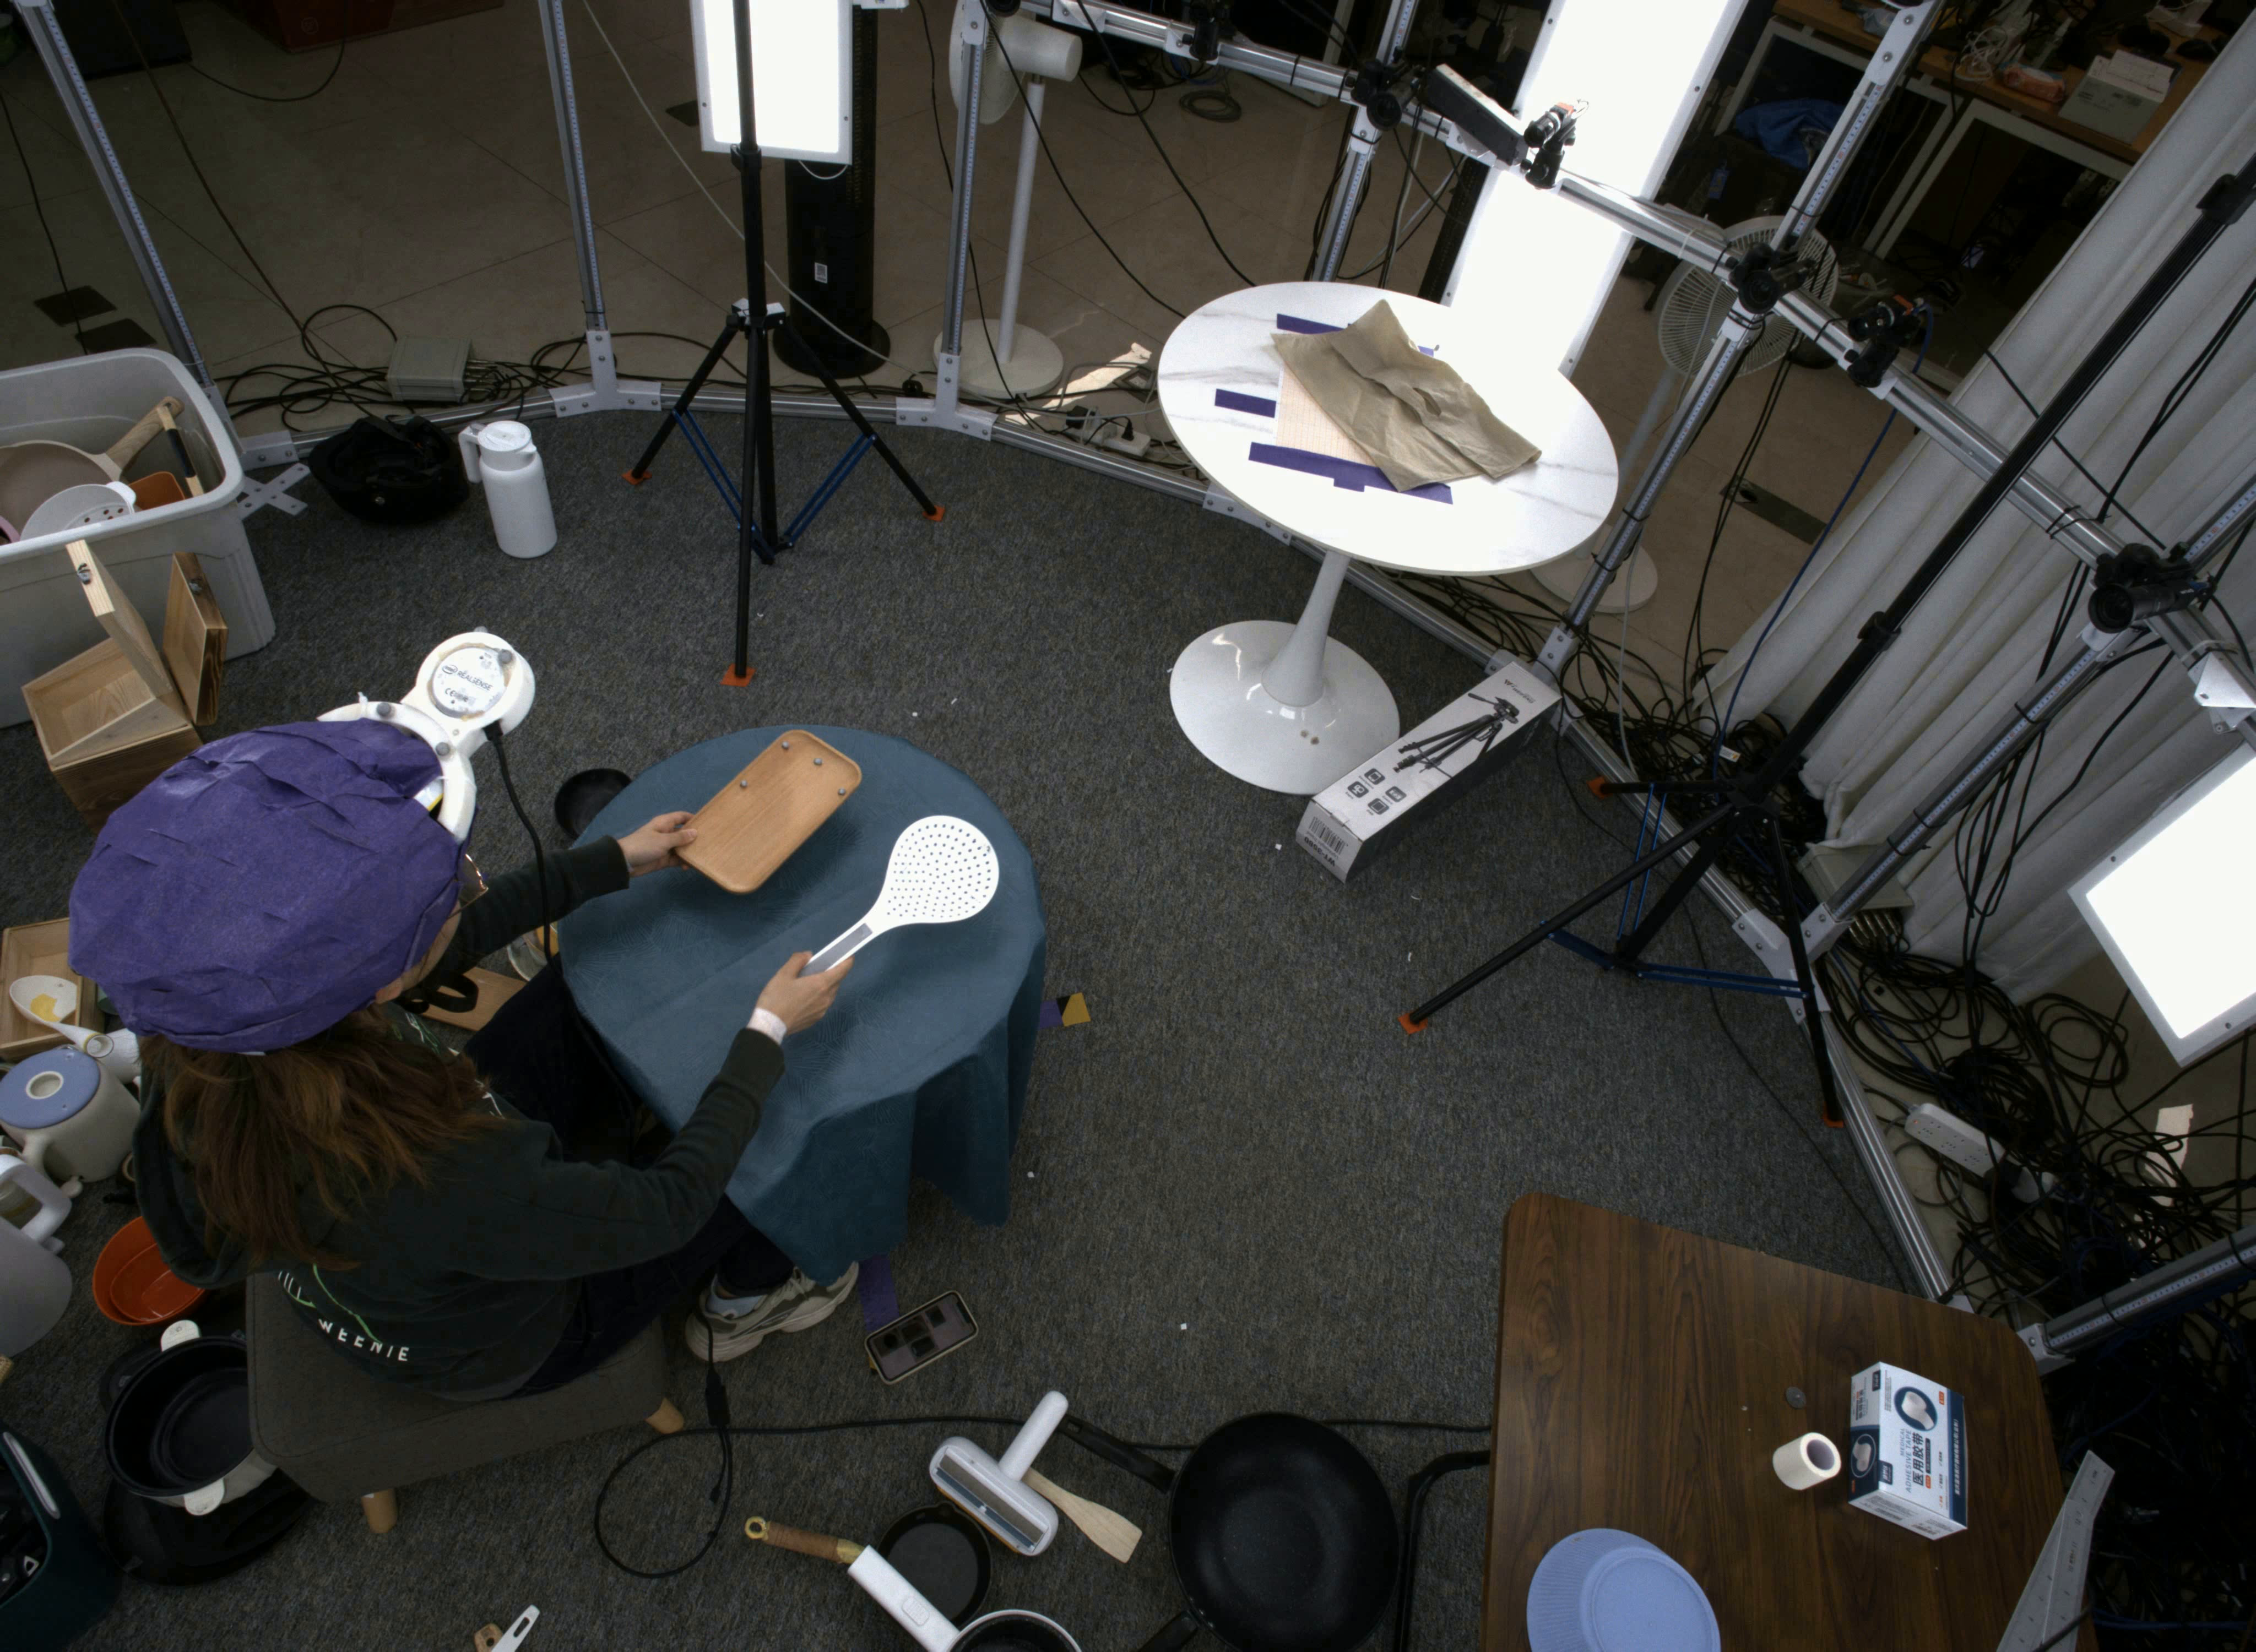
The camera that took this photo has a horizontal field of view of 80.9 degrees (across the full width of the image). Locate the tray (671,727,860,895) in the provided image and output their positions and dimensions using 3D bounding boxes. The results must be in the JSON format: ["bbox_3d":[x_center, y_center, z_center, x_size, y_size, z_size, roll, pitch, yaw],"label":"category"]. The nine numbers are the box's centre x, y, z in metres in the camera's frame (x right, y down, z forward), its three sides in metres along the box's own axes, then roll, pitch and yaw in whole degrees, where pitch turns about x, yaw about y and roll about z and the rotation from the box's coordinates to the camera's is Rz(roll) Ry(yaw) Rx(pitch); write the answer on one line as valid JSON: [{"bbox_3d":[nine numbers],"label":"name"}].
[{"bbox_3d":[-0.456,-0.022,1.641,0.128,0.023,0.250,32,55,8],"label":"tray"}]

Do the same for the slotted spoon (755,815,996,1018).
[{"bbox_3d":[-0.303,0.112,1.565,0.136,0.045,0.350,51,55,-1],"label":"slotted spoon"}]
